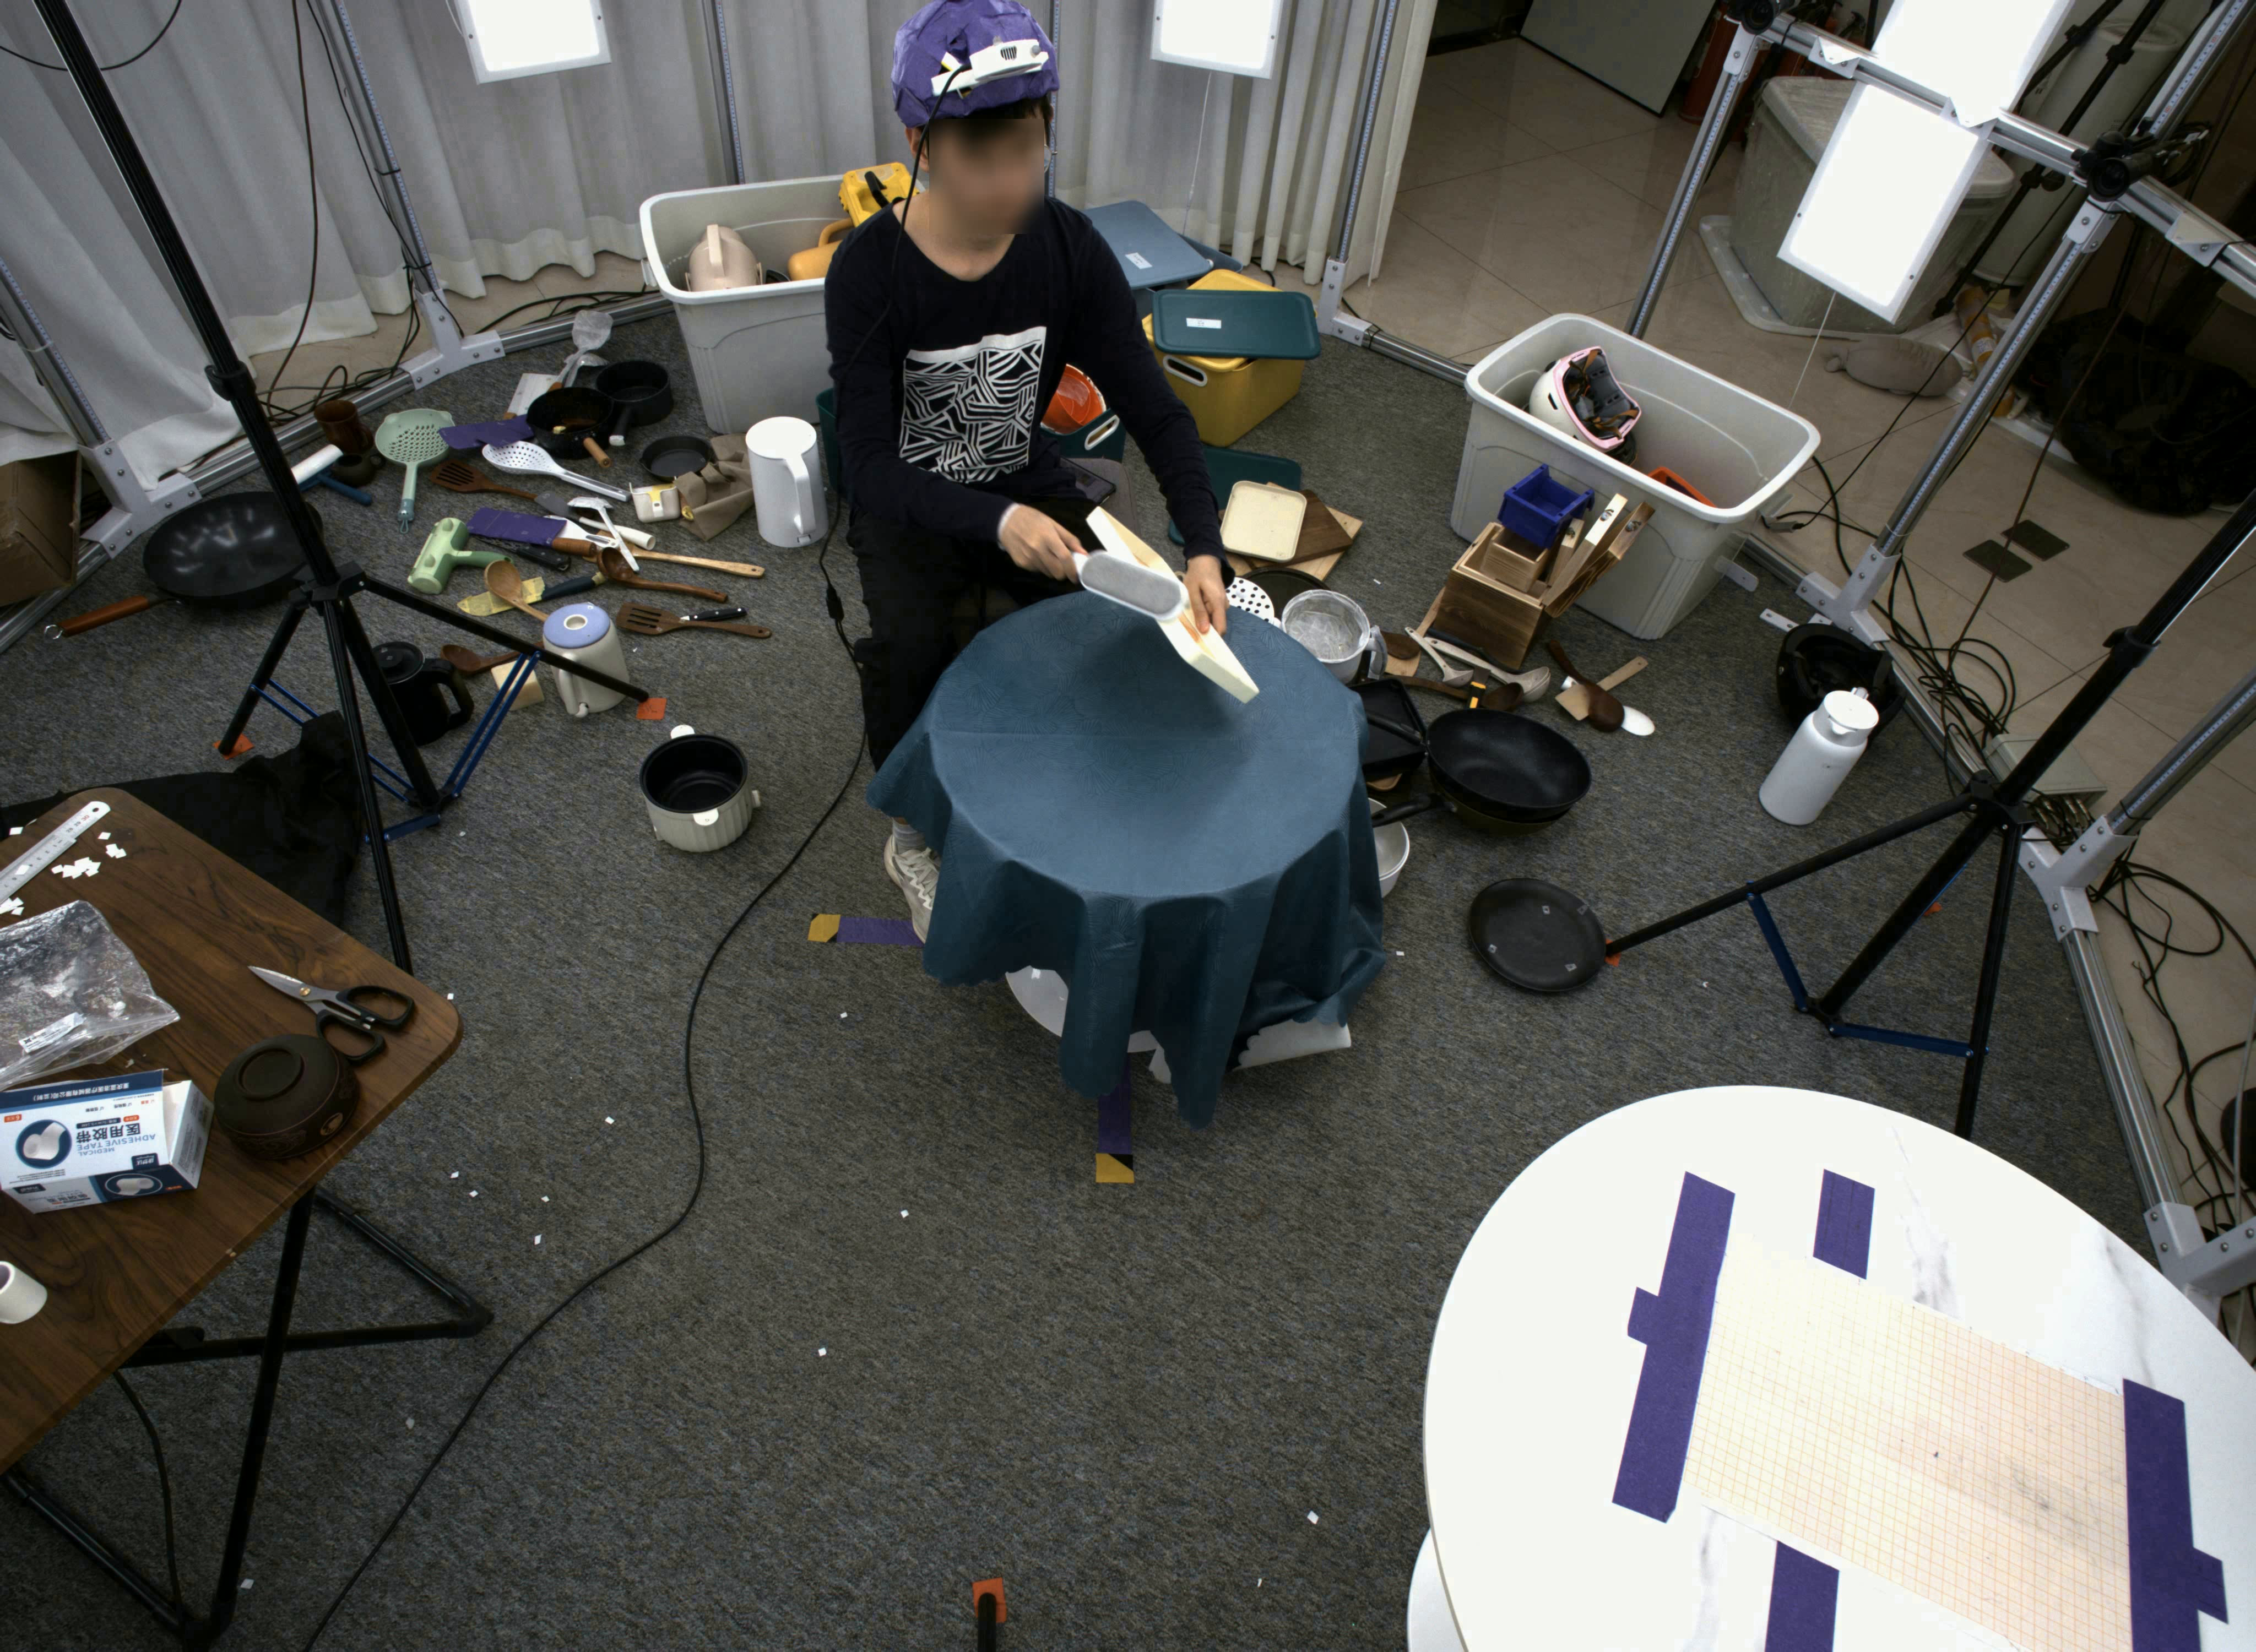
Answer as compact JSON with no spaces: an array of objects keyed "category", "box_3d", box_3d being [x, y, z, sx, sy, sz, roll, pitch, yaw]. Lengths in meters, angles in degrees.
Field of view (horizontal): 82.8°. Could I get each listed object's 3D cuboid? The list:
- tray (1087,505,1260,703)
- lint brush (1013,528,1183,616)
[{"category":"tray","box_3d":[0.061,-0.305,1.764,0.027,0.188,0.307,-42,56,16]},{"category":"lint brush","box_3d":[-0.046,-0.348,1.718,0.313,0.060,0.020,29,7,36]}]
